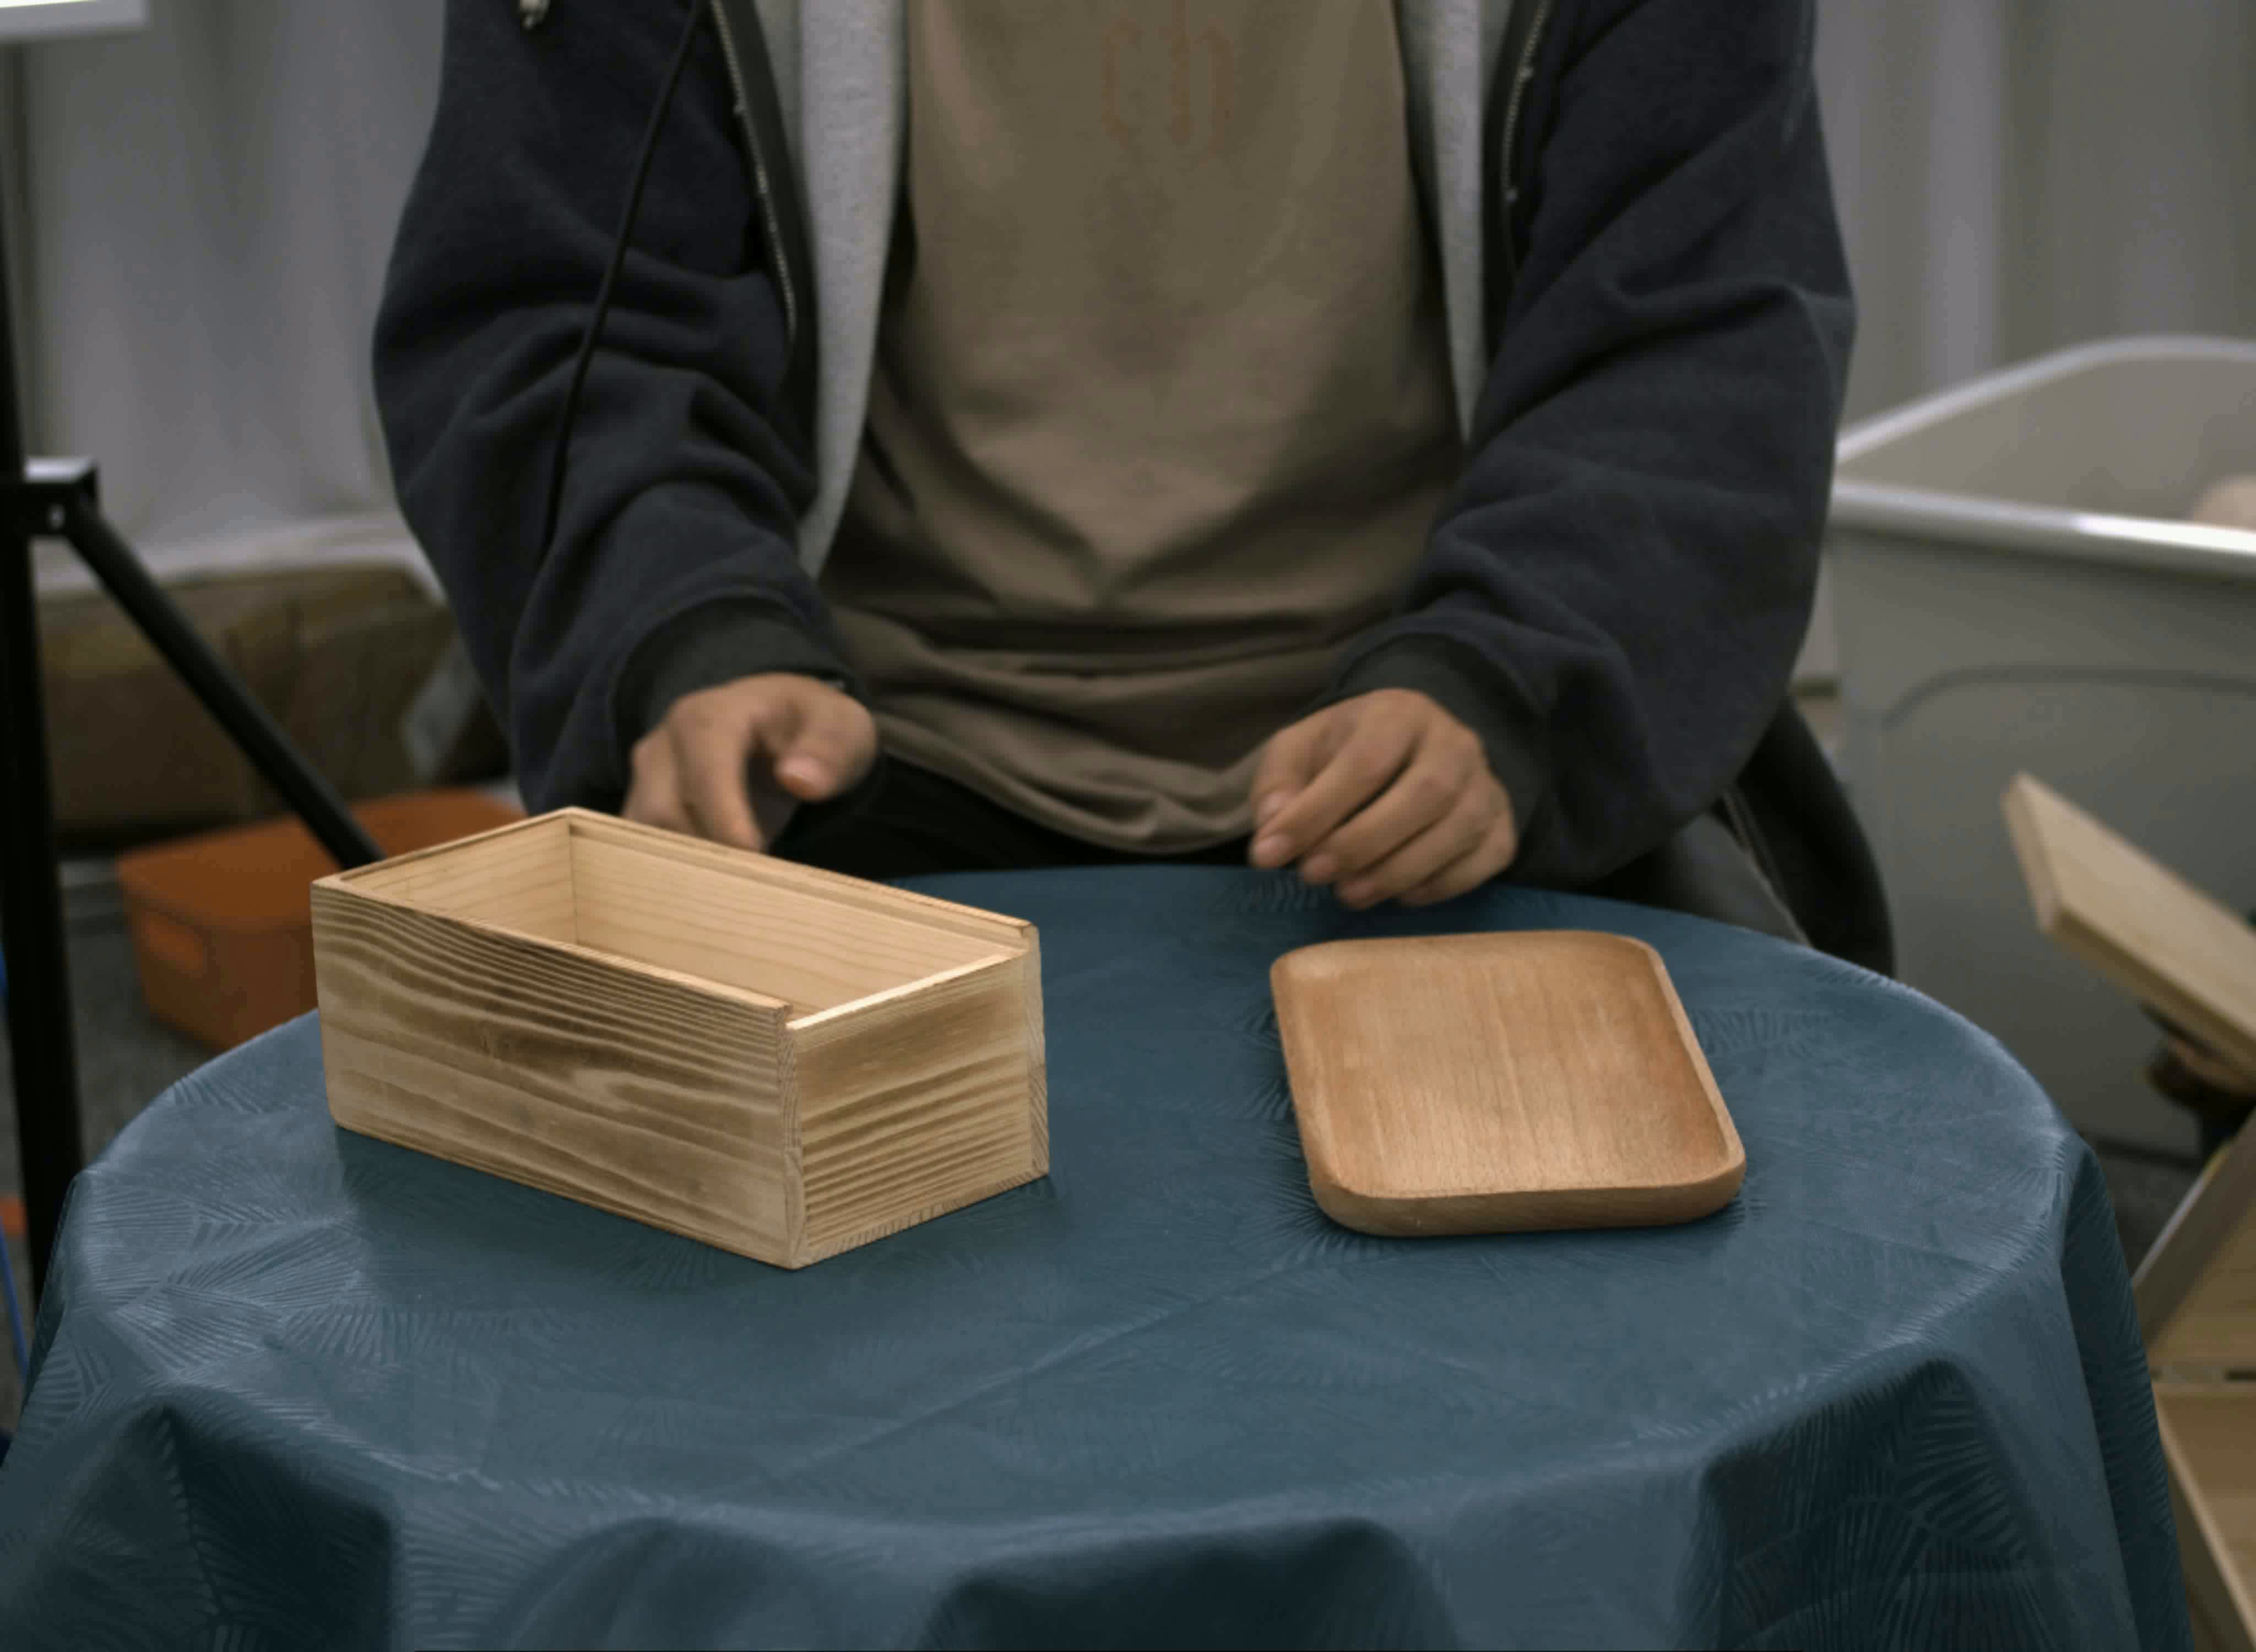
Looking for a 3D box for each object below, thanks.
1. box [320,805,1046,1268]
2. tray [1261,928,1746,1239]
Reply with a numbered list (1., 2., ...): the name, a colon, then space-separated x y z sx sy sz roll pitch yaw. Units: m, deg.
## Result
1. box: -0.136 0.060 1.608 0.105 0.080 0.216 -17 21 -42
2. tray: 0.111 0.076 1.622 0.130 0.023 0.252 0 15 -1
